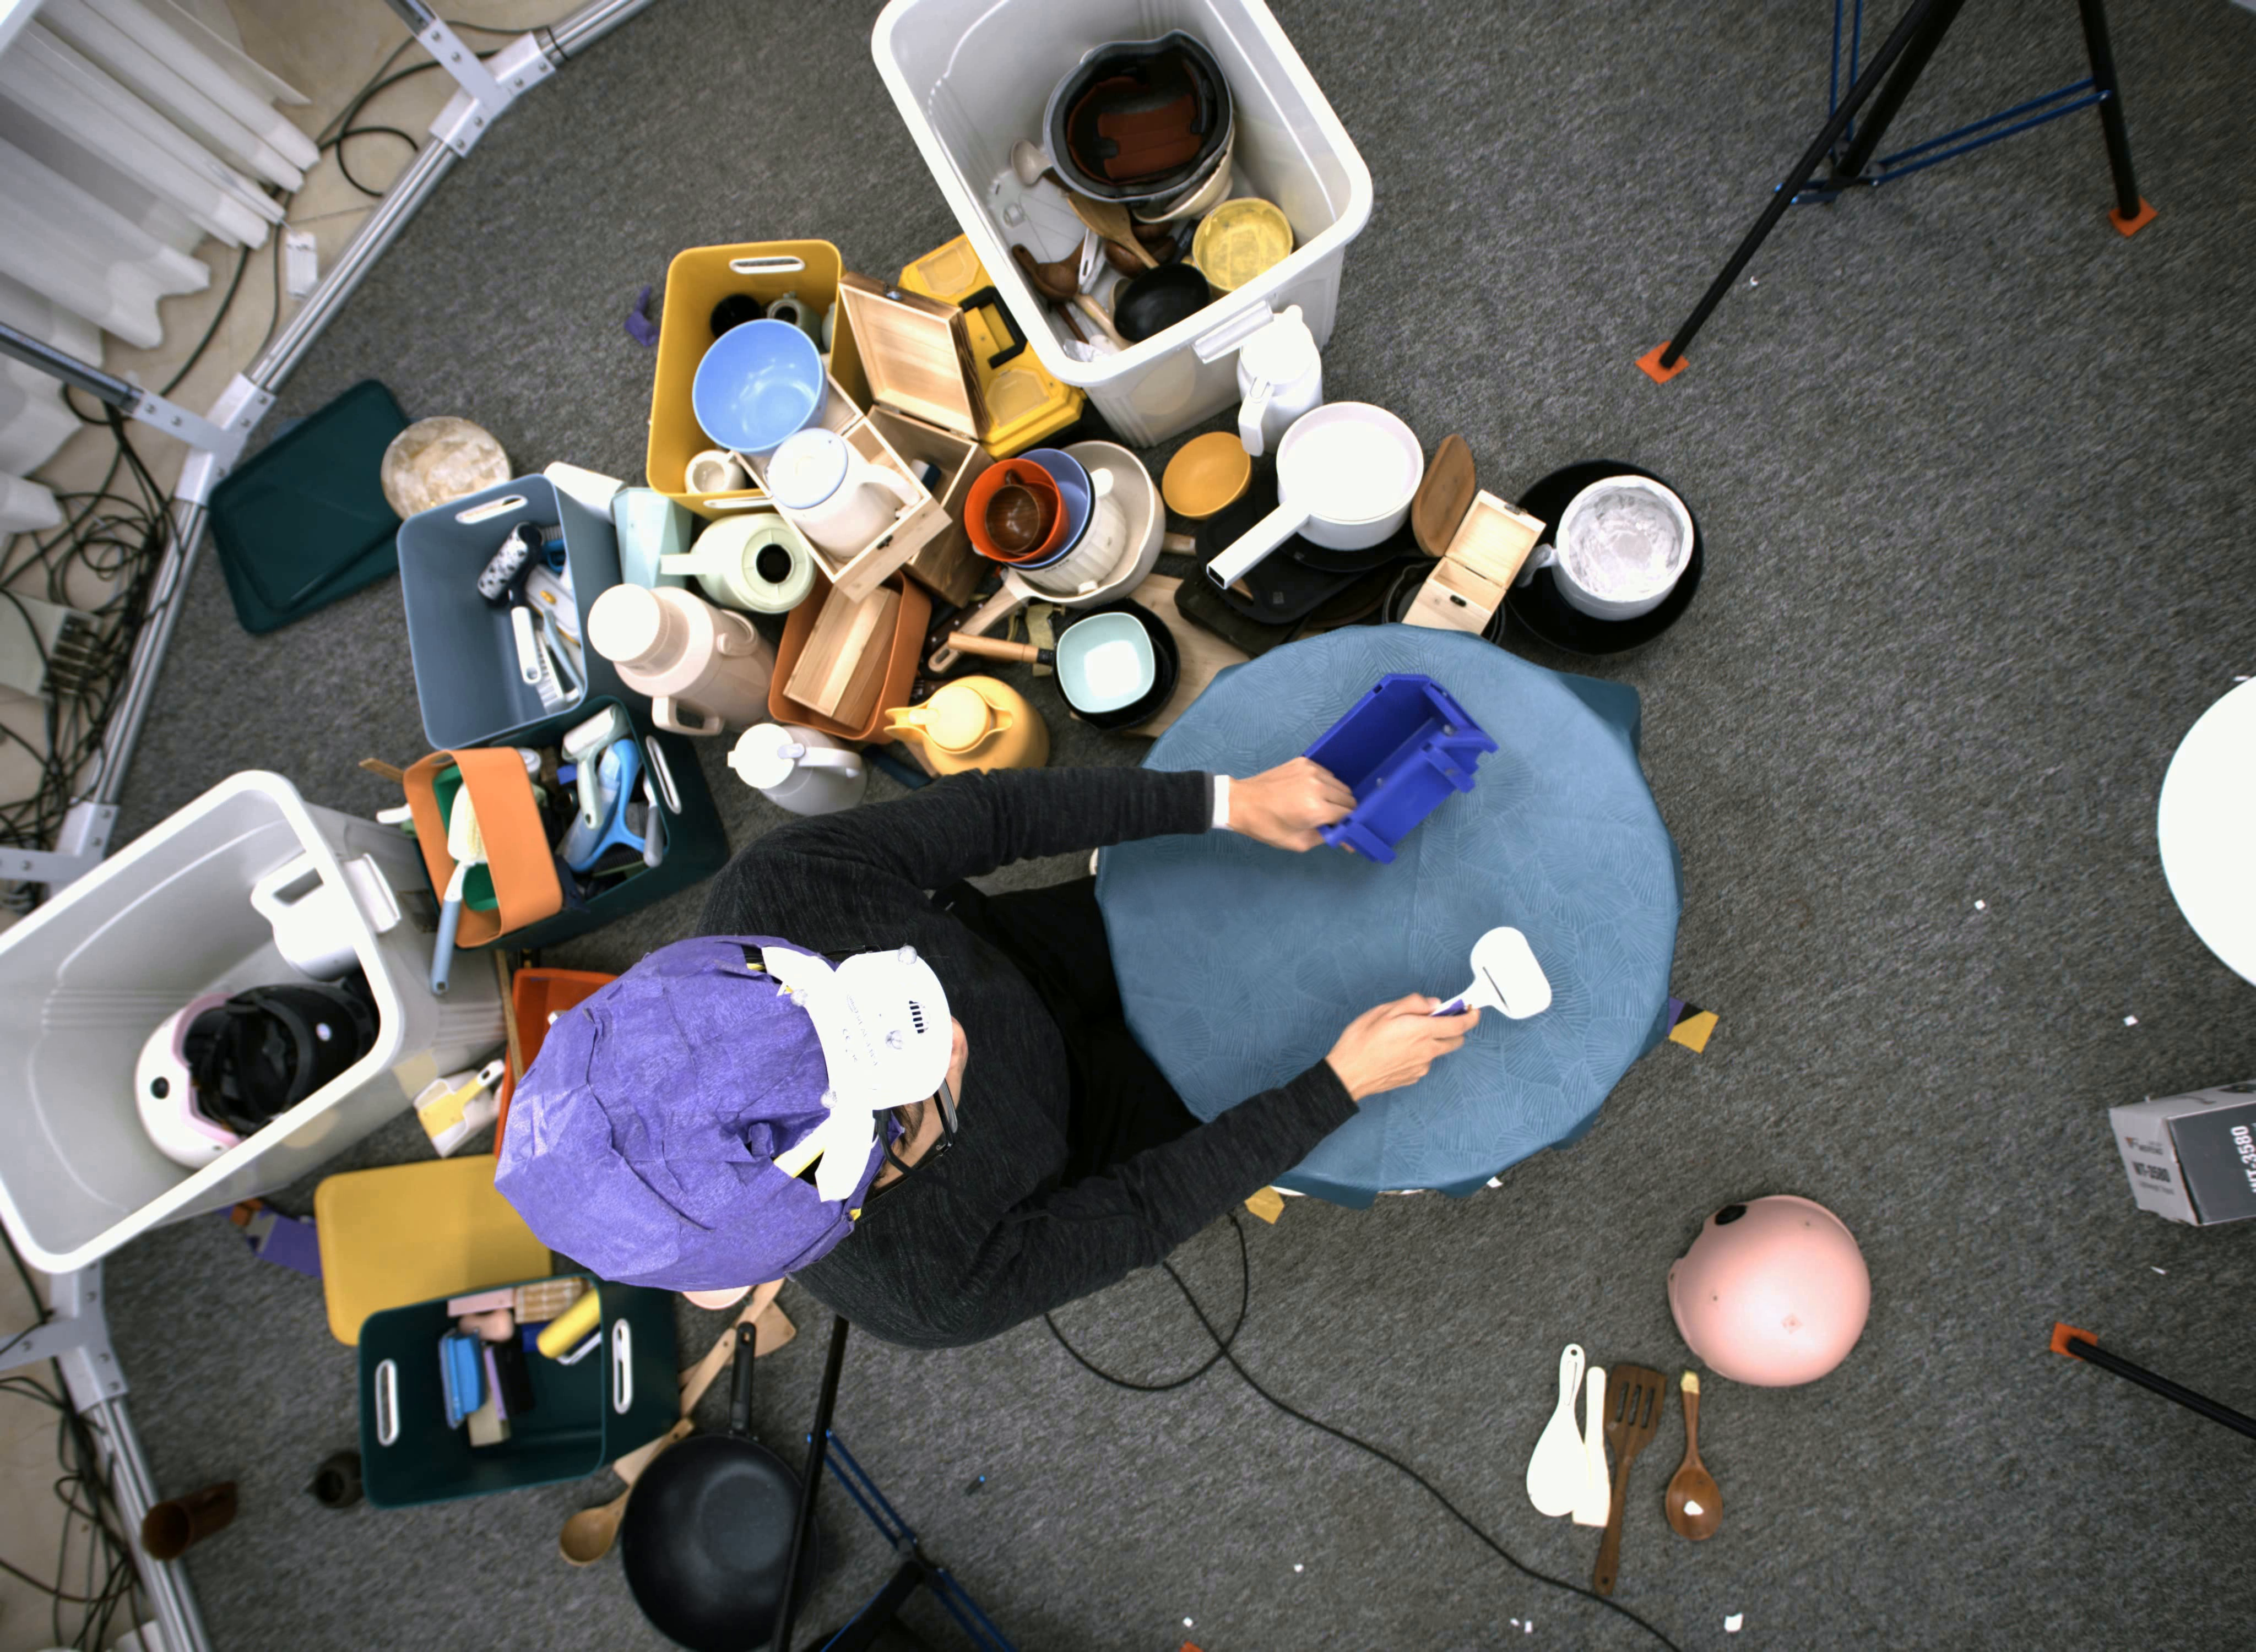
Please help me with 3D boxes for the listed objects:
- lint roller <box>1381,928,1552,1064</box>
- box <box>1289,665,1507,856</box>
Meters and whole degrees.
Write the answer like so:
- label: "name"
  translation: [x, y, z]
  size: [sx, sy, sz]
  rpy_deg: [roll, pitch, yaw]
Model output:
- label: "lint roller"
  translation: [0.330, 0.183, 1.355]
  size: [0.181, 0.135, 0.049]
  rpy_deg: [-38, 45, 0]
- label: "box"
  translation: [0.268, -0.070, 1.368]
  size: [0.182, 0.082, 0.122]
  rpy_deg: [-45, 42, 18]
